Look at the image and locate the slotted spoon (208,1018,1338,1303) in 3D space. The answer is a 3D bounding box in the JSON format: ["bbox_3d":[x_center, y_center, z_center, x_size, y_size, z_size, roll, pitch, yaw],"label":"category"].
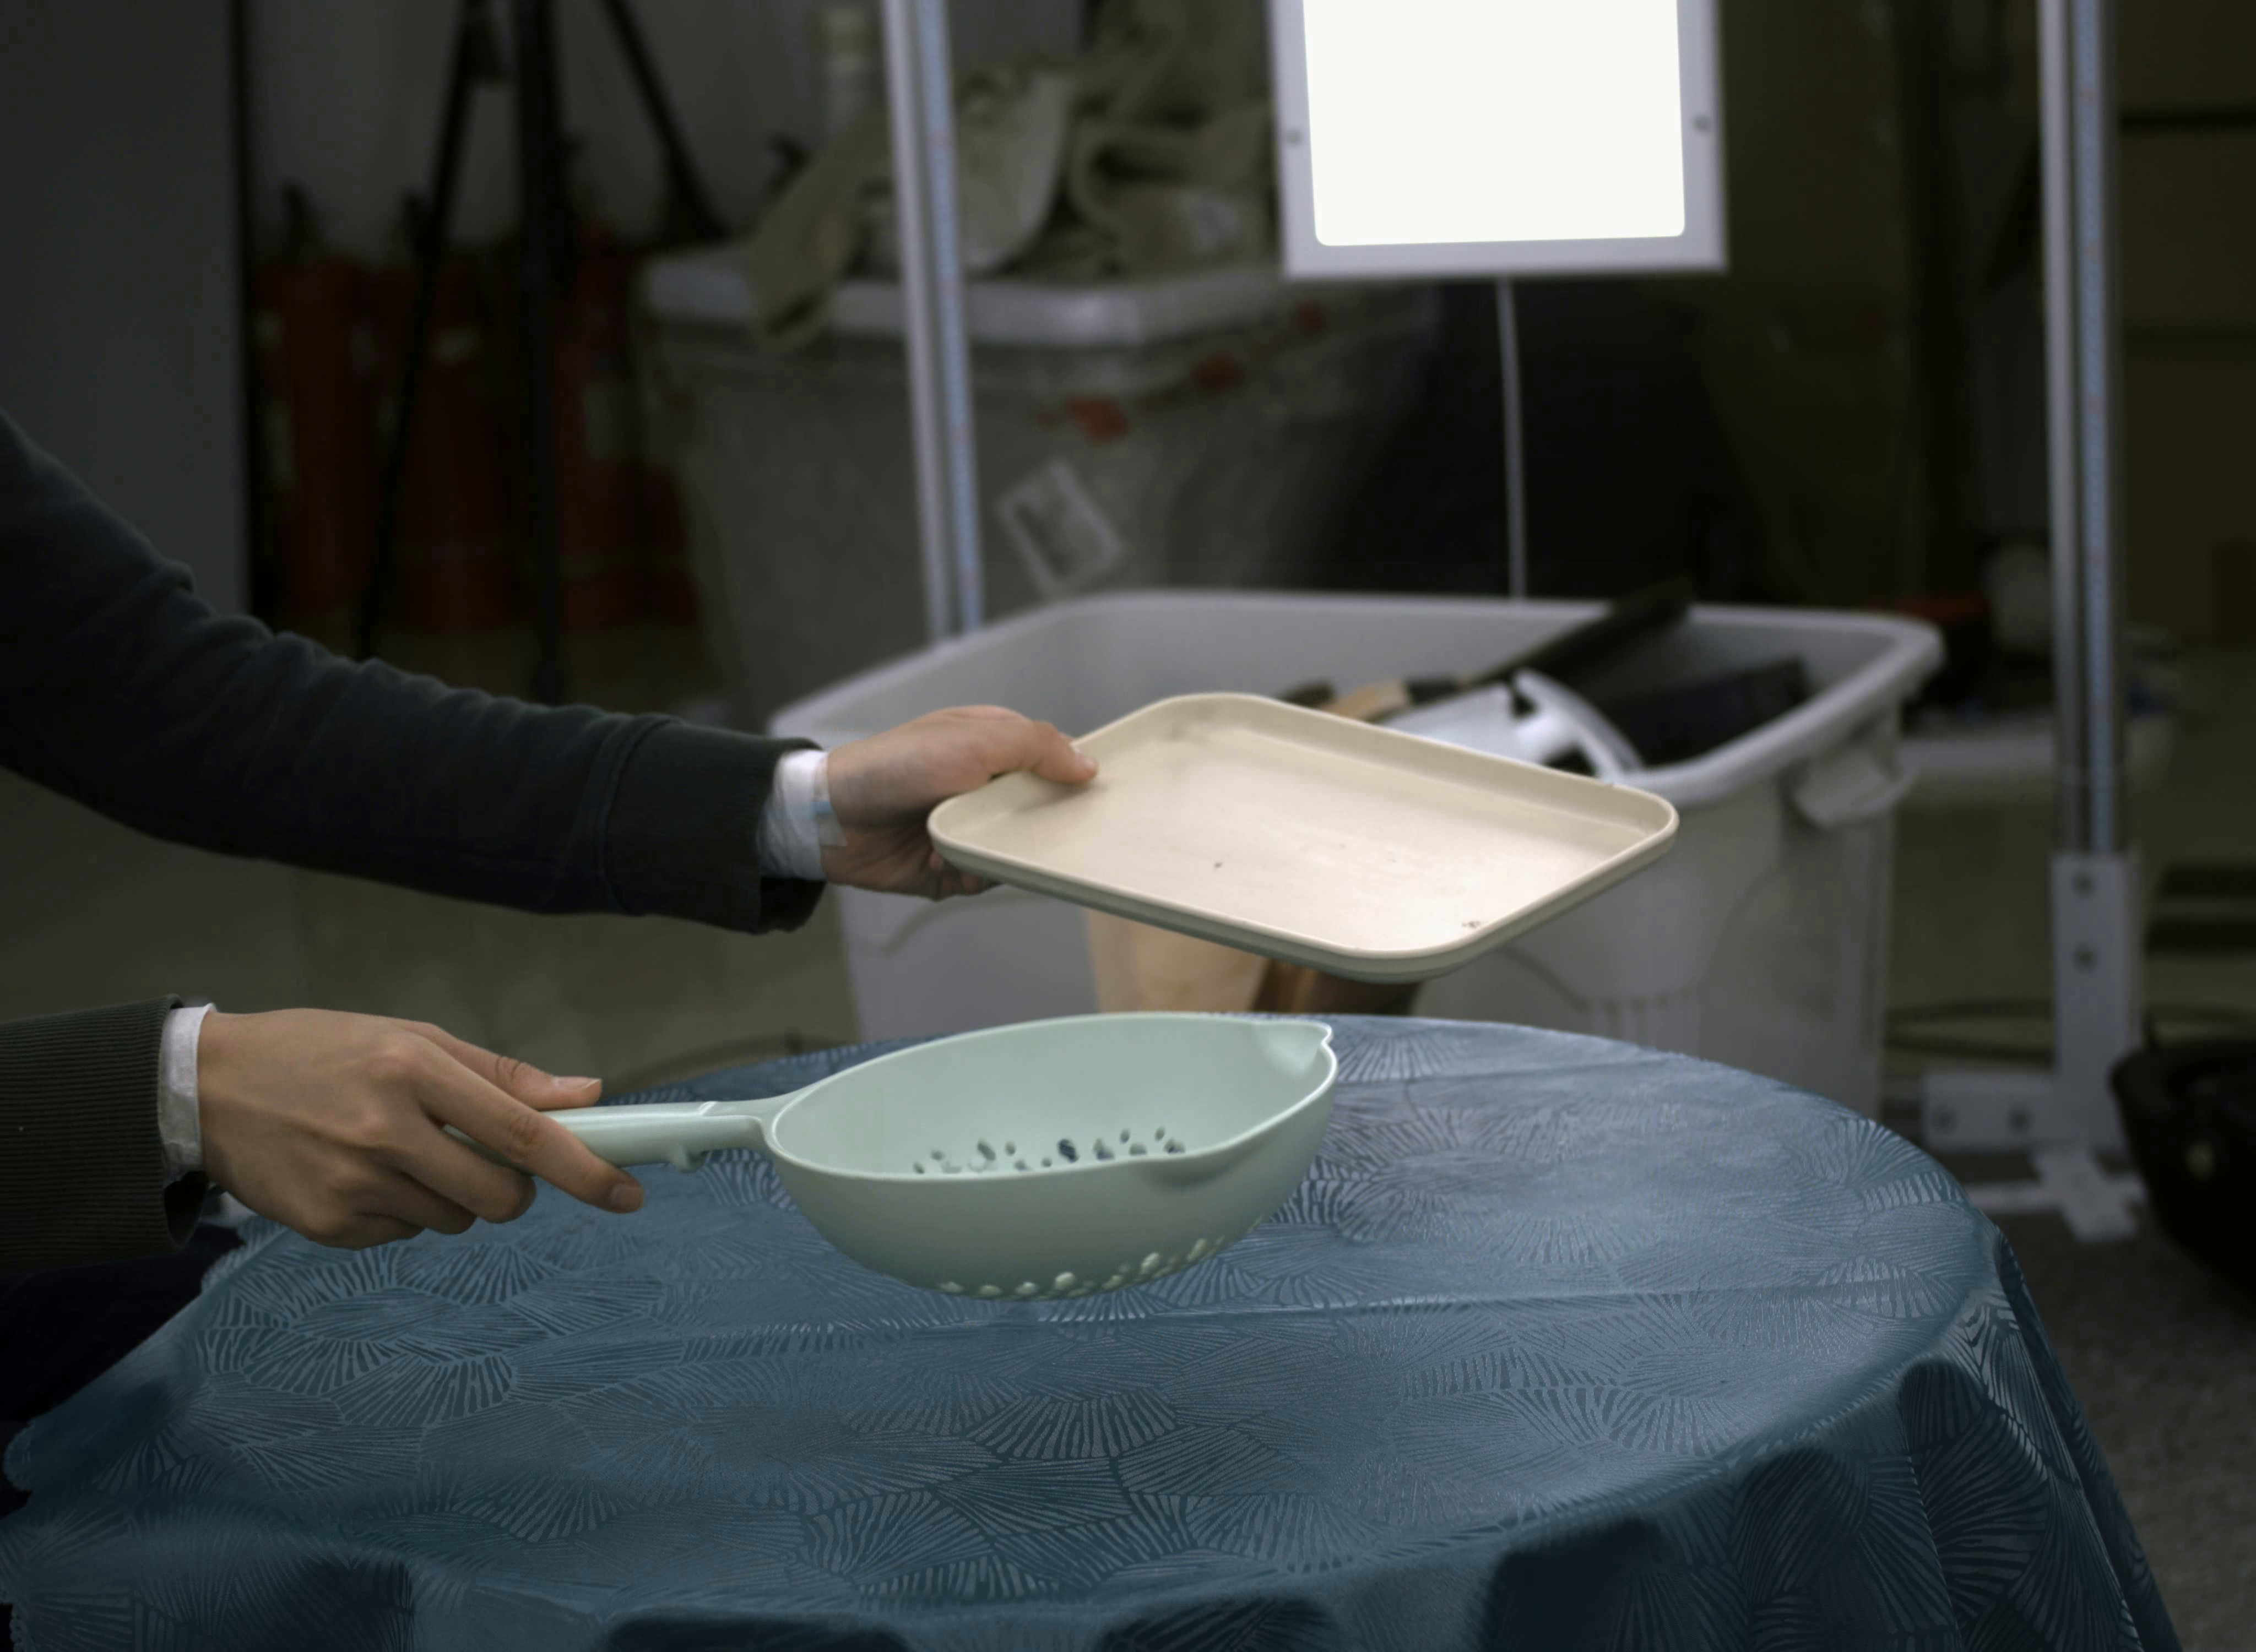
[{"bbox_3d":[-0.114,0.097,1.657,0.363,0.076,0.166,4,13,18],"label":"slotted spoon"}]

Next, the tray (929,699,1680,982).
[{"bbox_3d":[0.061,0.004,1.934,0.244,0.017,0.167,14,29,41],"label":"tray"}]
